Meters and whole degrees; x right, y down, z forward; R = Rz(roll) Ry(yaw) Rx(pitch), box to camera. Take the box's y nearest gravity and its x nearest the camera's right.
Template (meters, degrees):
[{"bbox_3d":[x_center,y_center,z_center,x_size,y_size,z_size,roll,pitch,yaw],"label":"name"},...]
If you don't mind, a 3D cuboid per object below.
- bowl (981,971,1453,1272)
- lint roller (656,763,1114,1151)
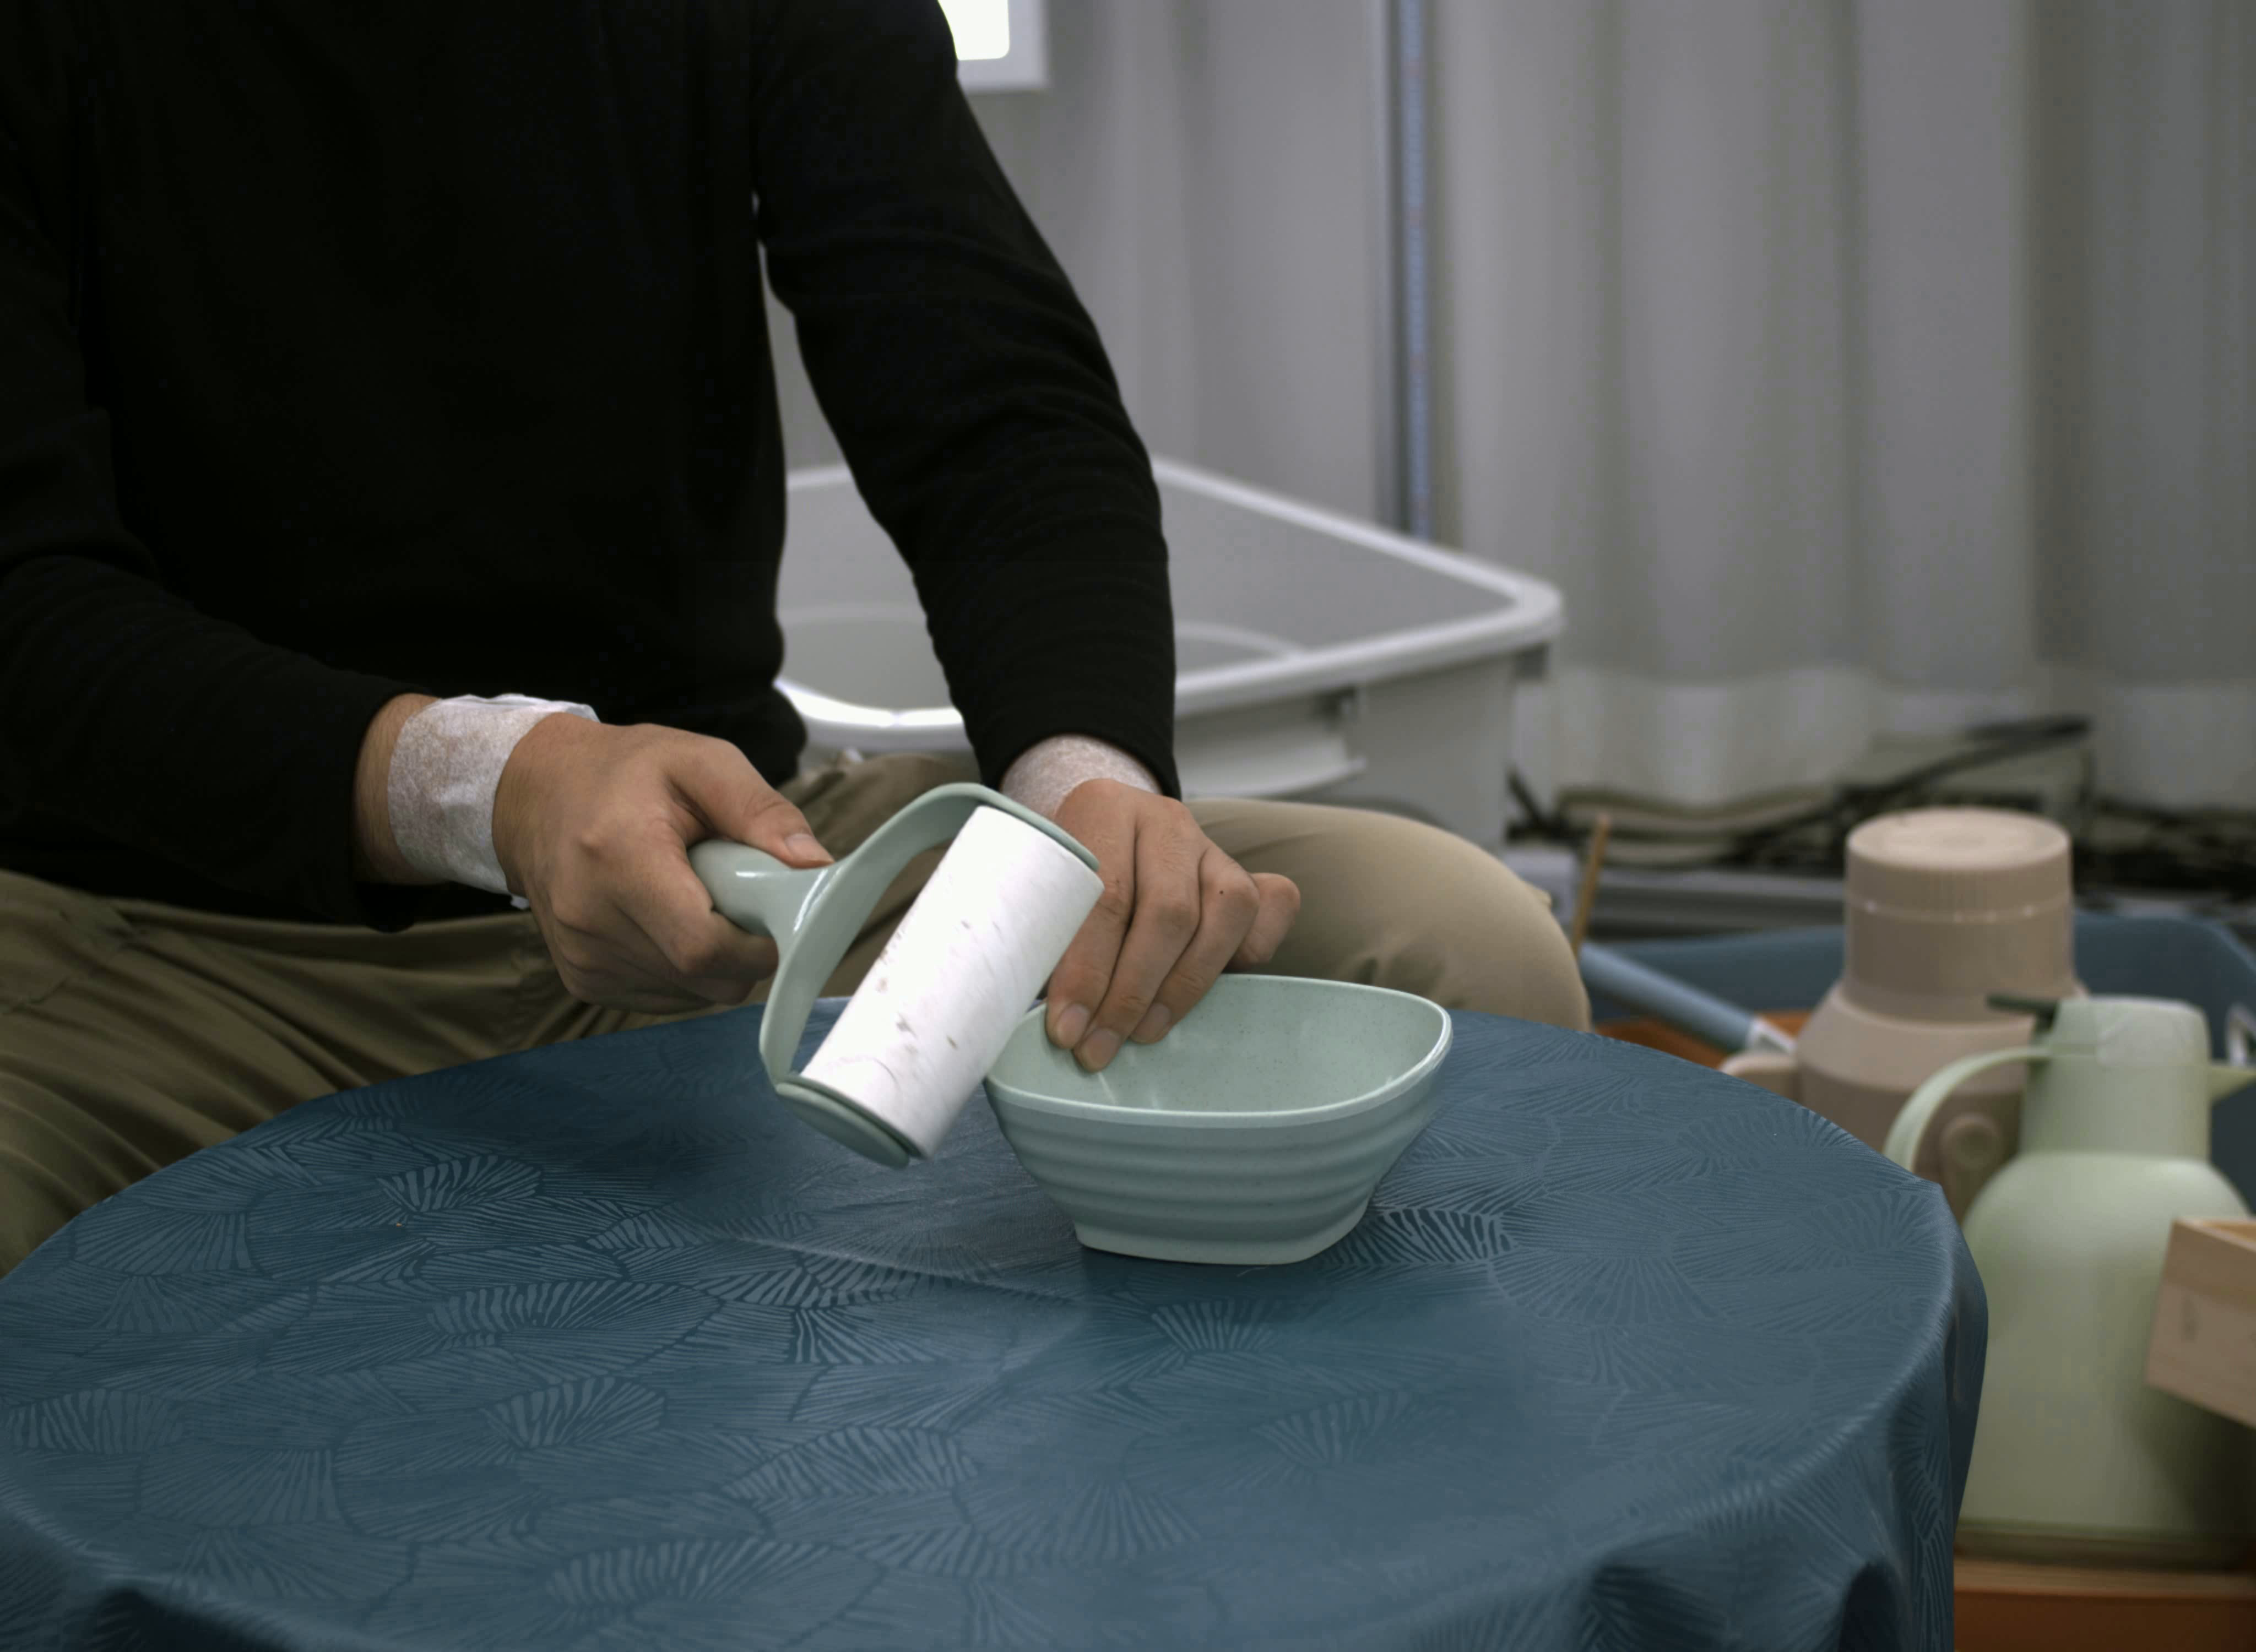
[{"bbox_3d":[0.028,0.094,1.677,0.151,0.058,0.152,-1,16,0],"label":"bowl"},{"bbox_3d":[-0.094,0.026,1.702,0.199,0.117,0.048,18,-18,49],"label":"lint roller"}]
